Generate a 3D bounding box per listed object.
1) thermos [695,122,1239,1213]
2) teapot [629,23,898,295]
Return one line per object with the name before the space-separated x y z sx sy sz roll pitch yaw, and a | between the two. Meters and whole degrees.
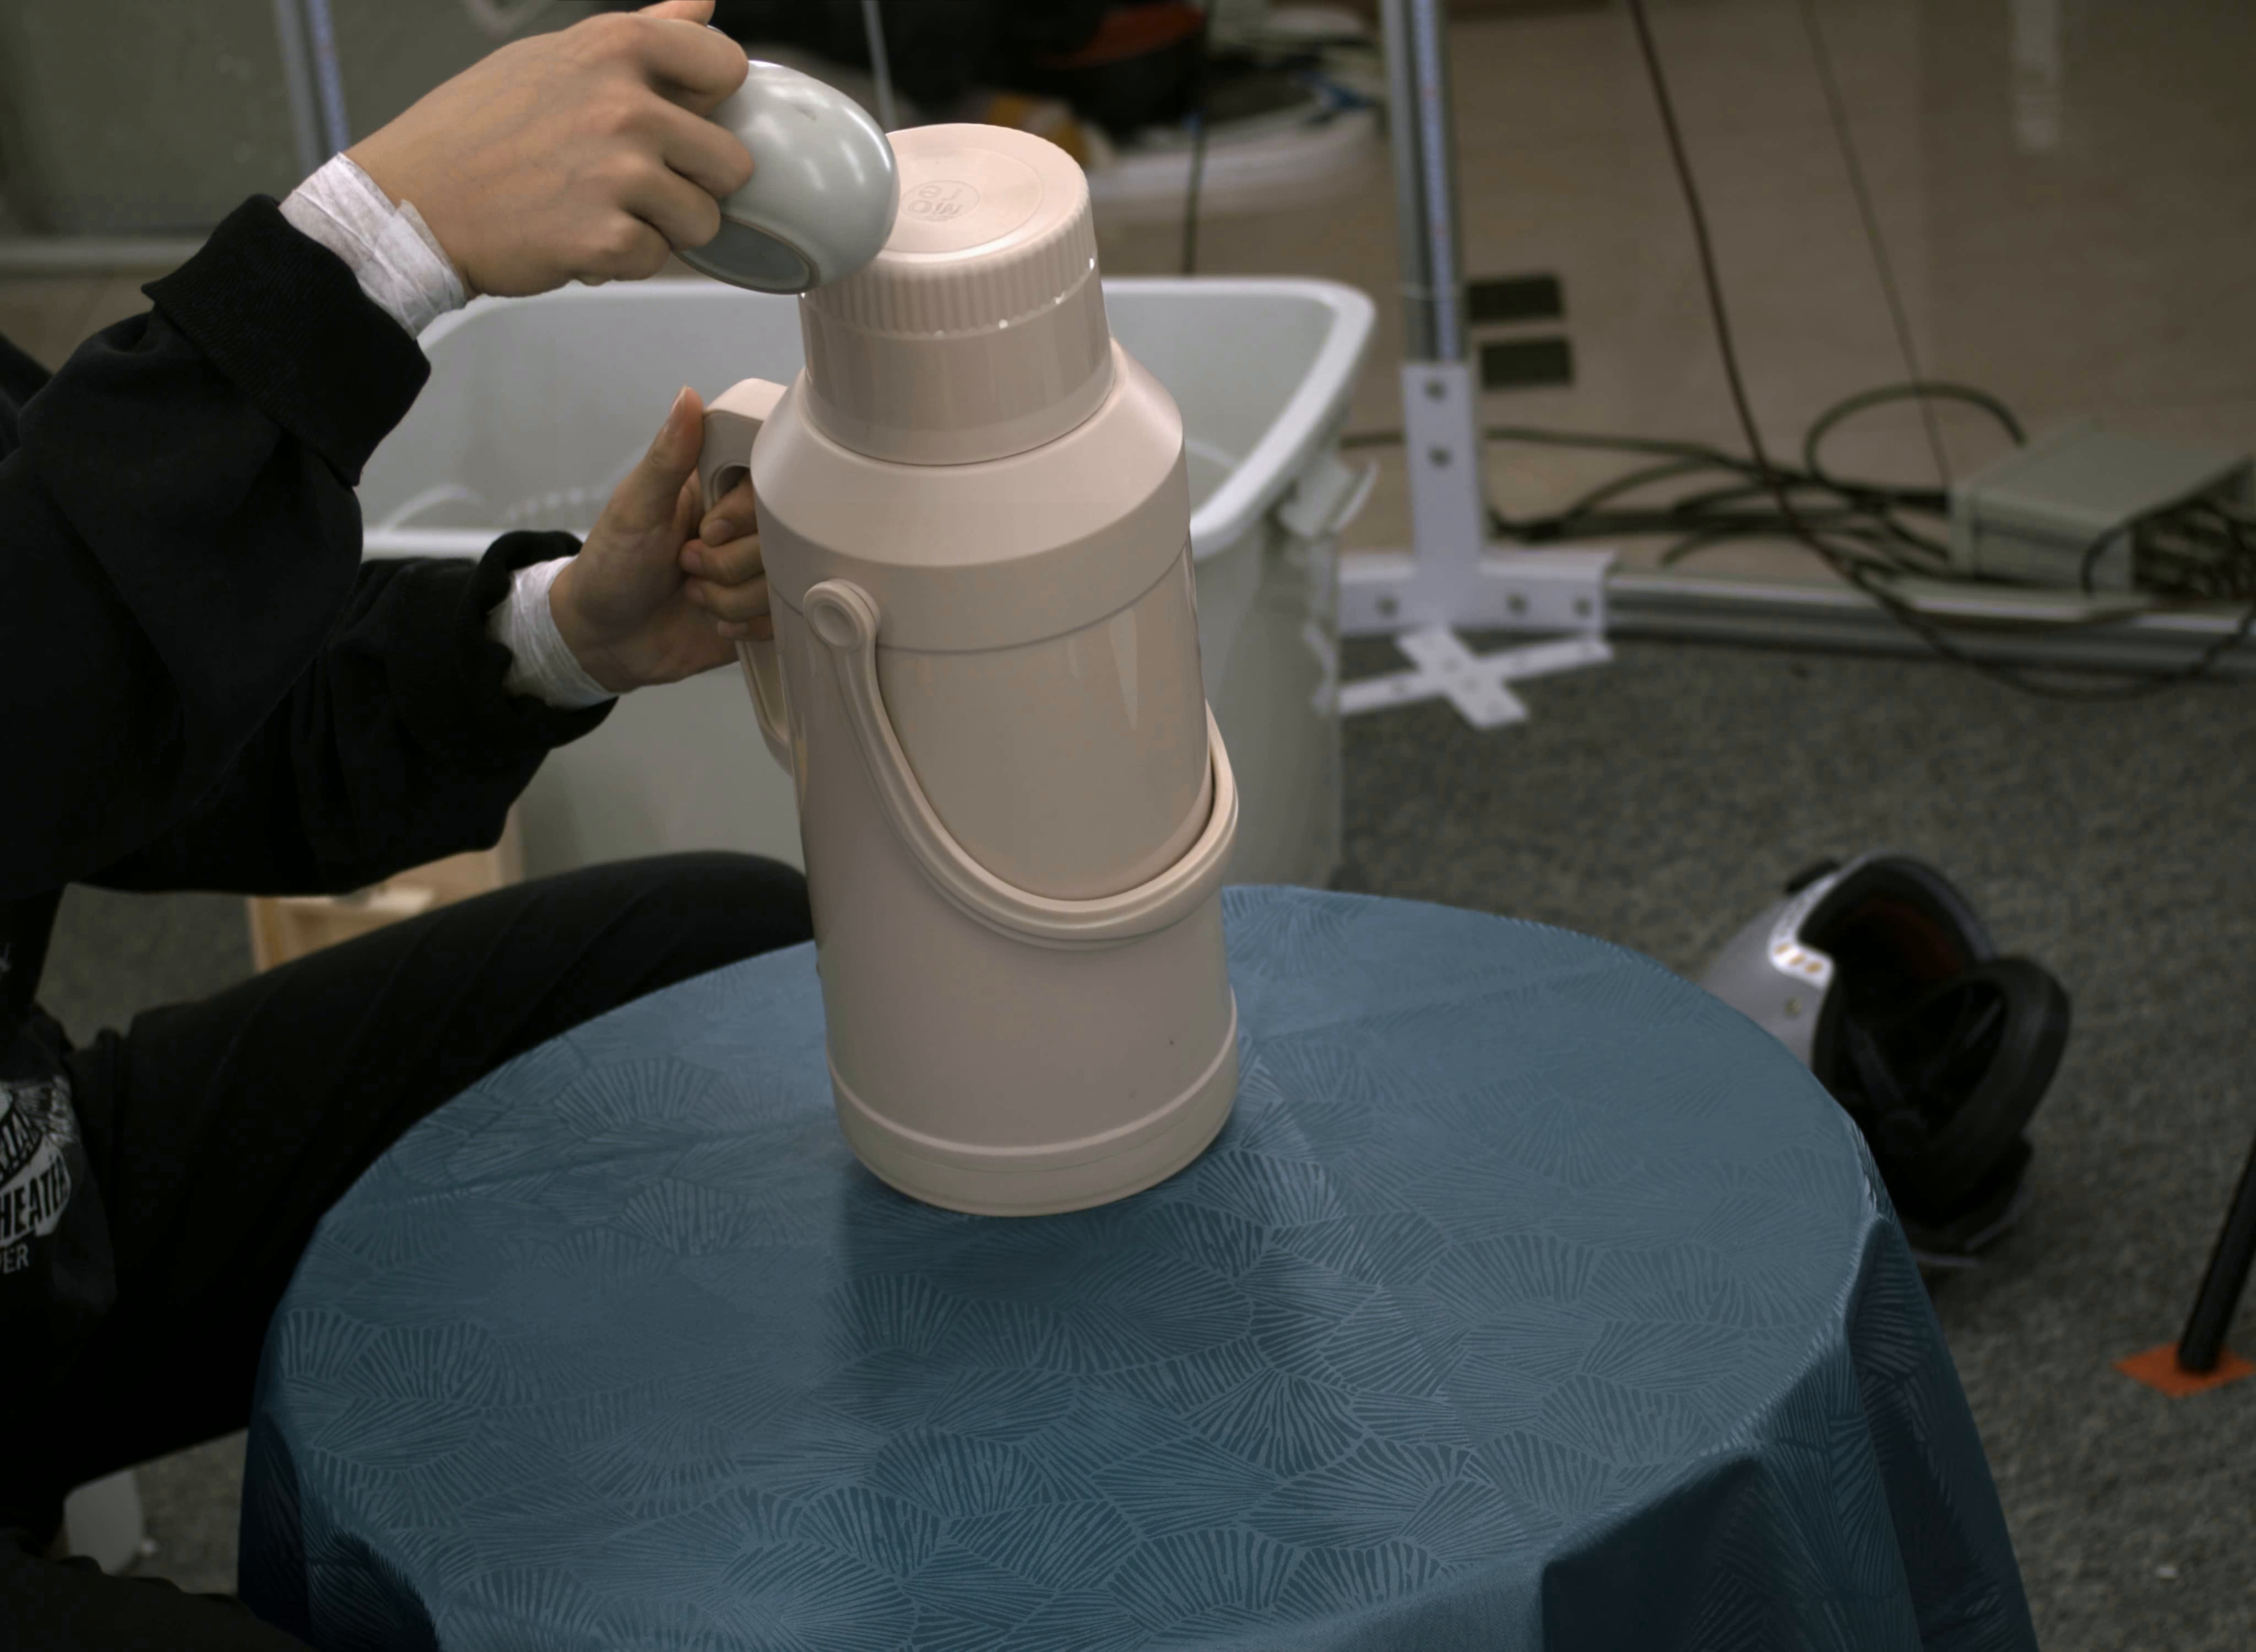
thermos | -0.061 -0.062 2.088 0.206 0.414 0.173 18 44 27
teapot | -0.126 -0.221 1.880 0.091 0.129 0.059 13 73 30
